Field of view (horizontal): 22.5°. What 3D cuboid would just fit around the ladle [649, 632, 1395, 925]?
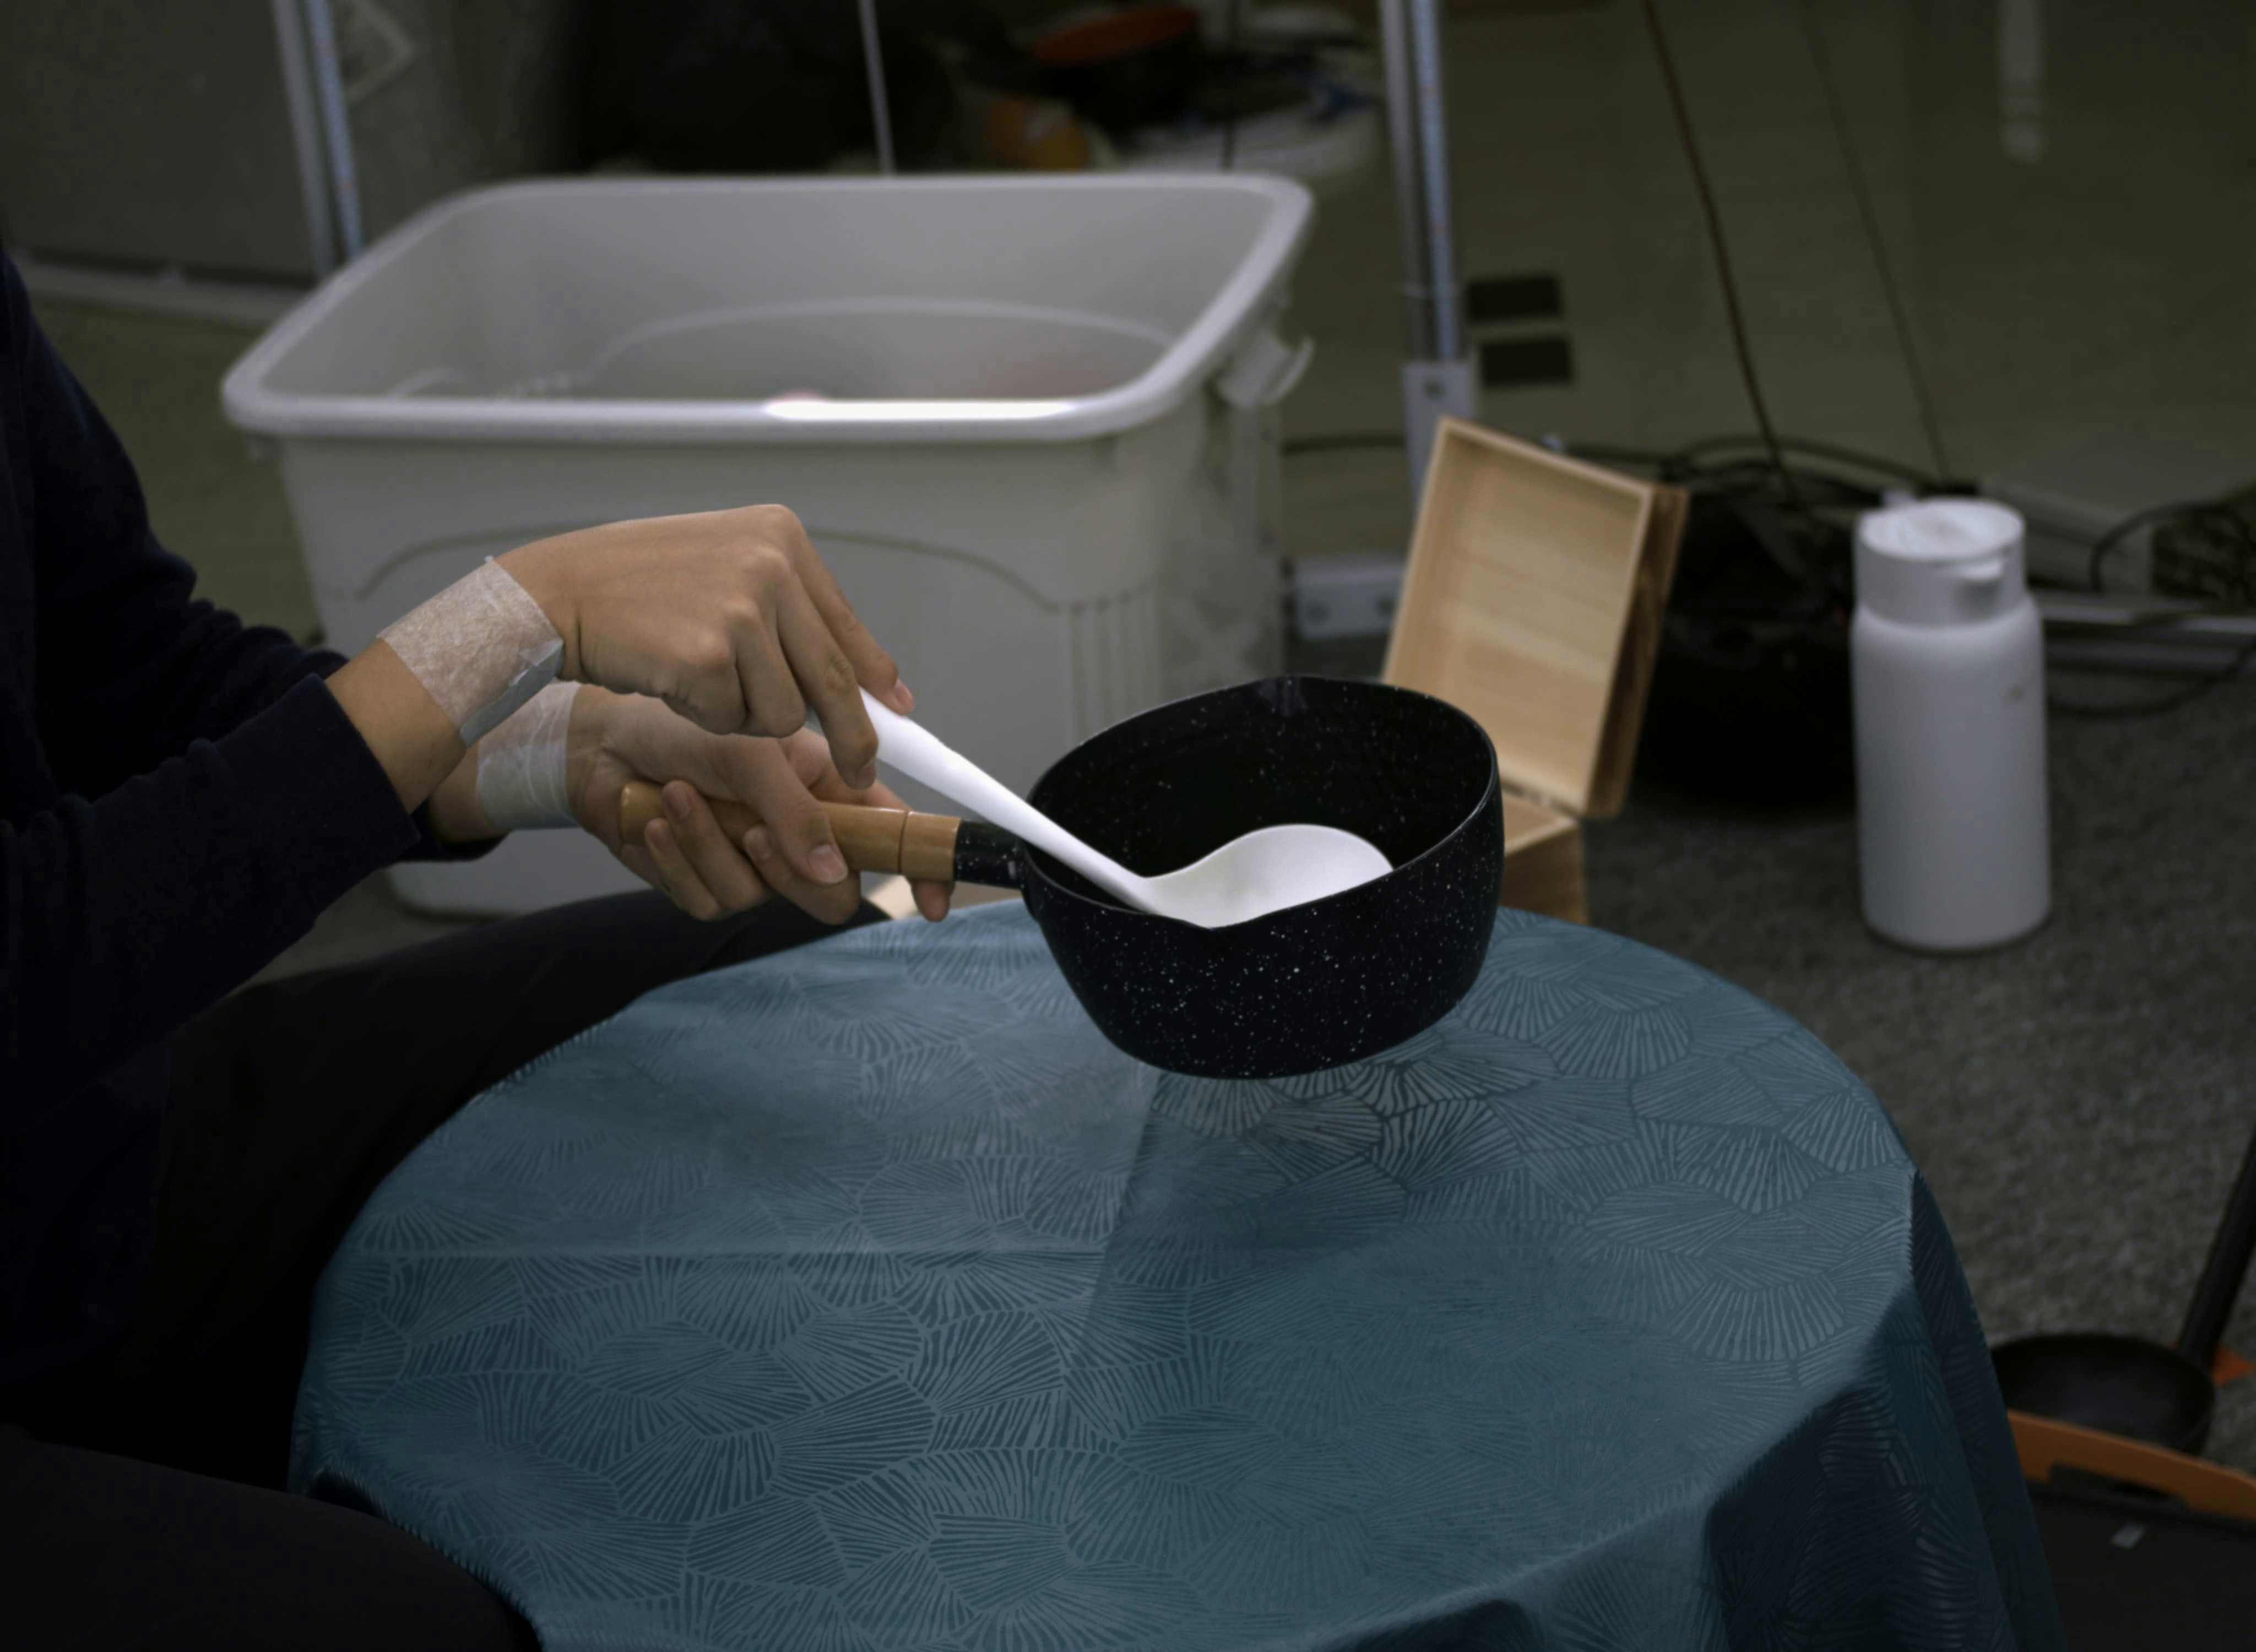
[{"bbox_3d":[-0.035,-0.010,2.111,0.294,0.071,0.088,26,40,-23],"label":"ladle"}]

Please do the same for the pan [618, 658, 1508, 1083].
[{"bbox_3d":[-0.024,0.019,2.162,0.342,0.110,0.204,-4,31,11],"label":"pan"}]
